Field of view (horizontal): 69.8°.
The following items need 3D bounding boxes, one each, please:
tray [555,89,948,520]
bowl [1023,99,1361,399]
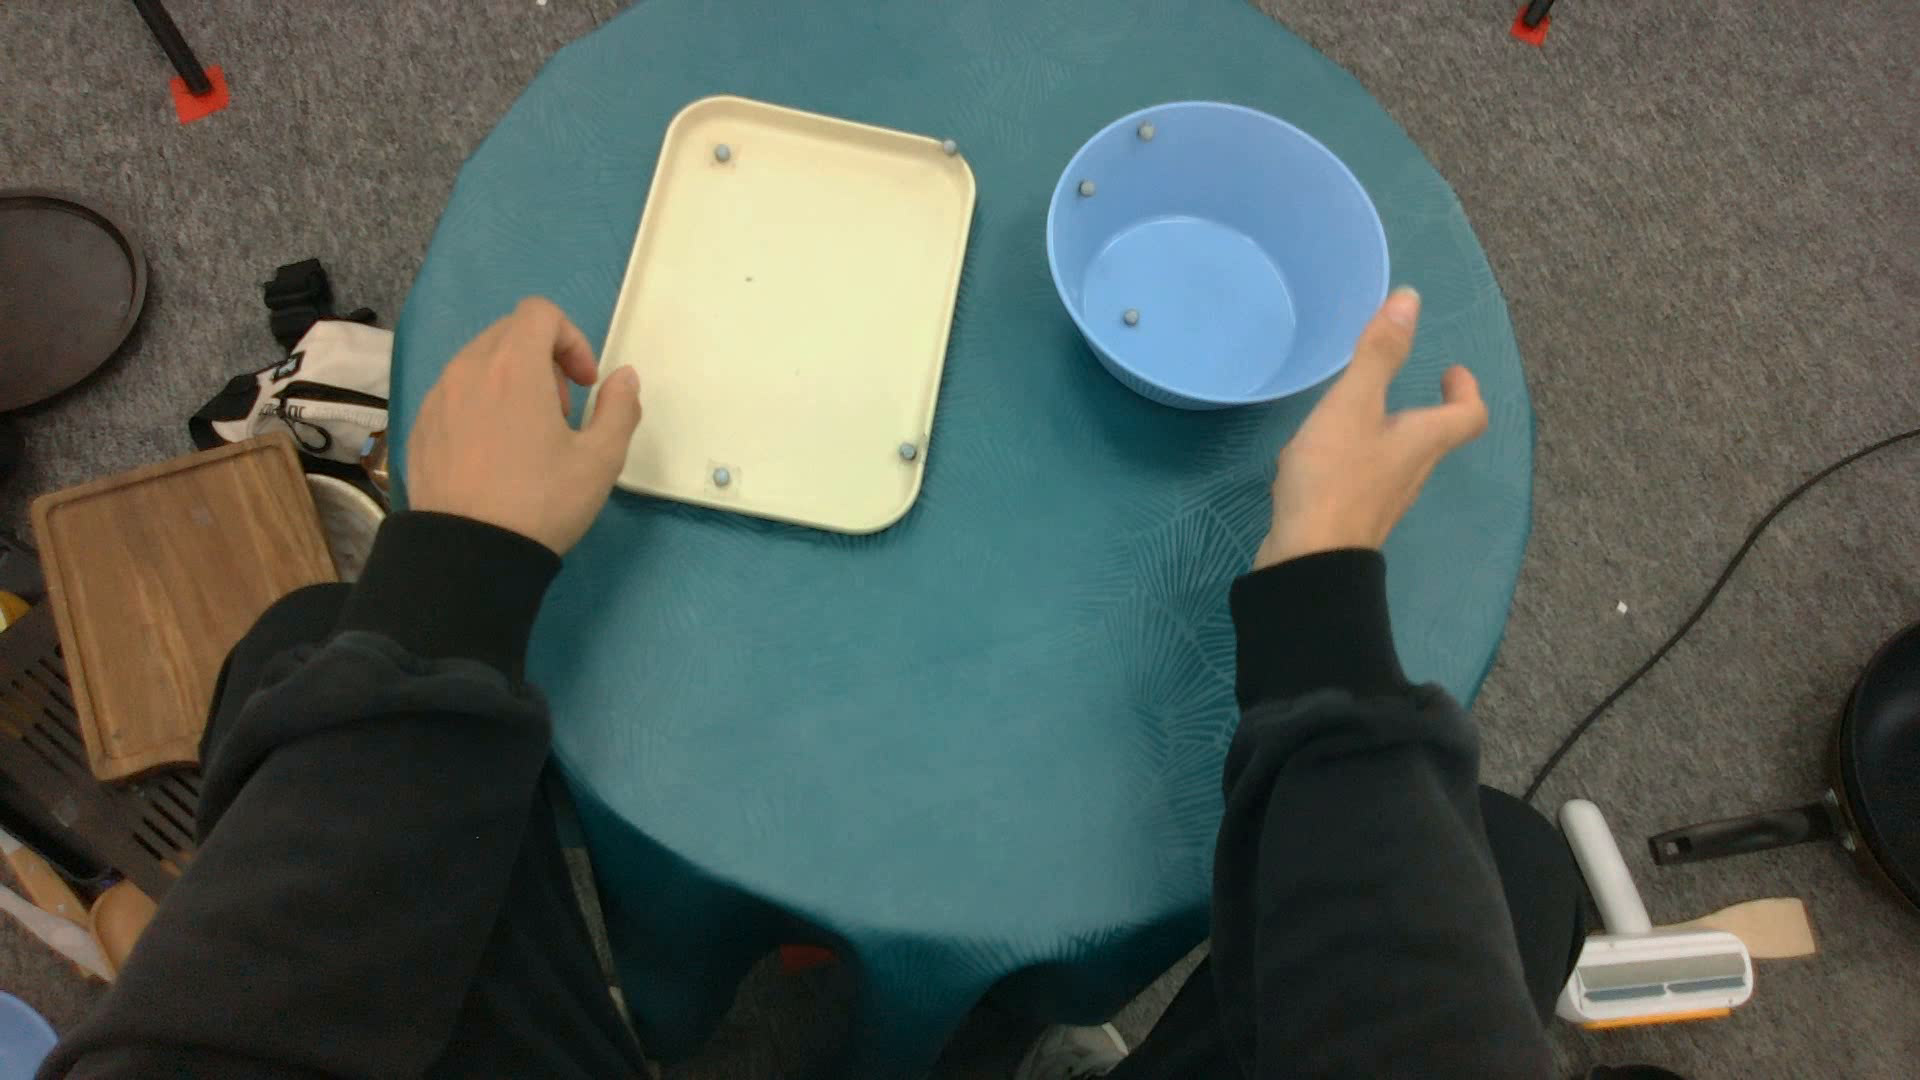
[{"bbox_3d":[-0.103,-0.127,0.721,0.171,0.017,0.240,10,67,-3],"label":"tray"},{"bbox_3d":[0.115,-0.142,0.727,0.176,0.070,0.176,3,67,-6],"label":"bowl"}]
